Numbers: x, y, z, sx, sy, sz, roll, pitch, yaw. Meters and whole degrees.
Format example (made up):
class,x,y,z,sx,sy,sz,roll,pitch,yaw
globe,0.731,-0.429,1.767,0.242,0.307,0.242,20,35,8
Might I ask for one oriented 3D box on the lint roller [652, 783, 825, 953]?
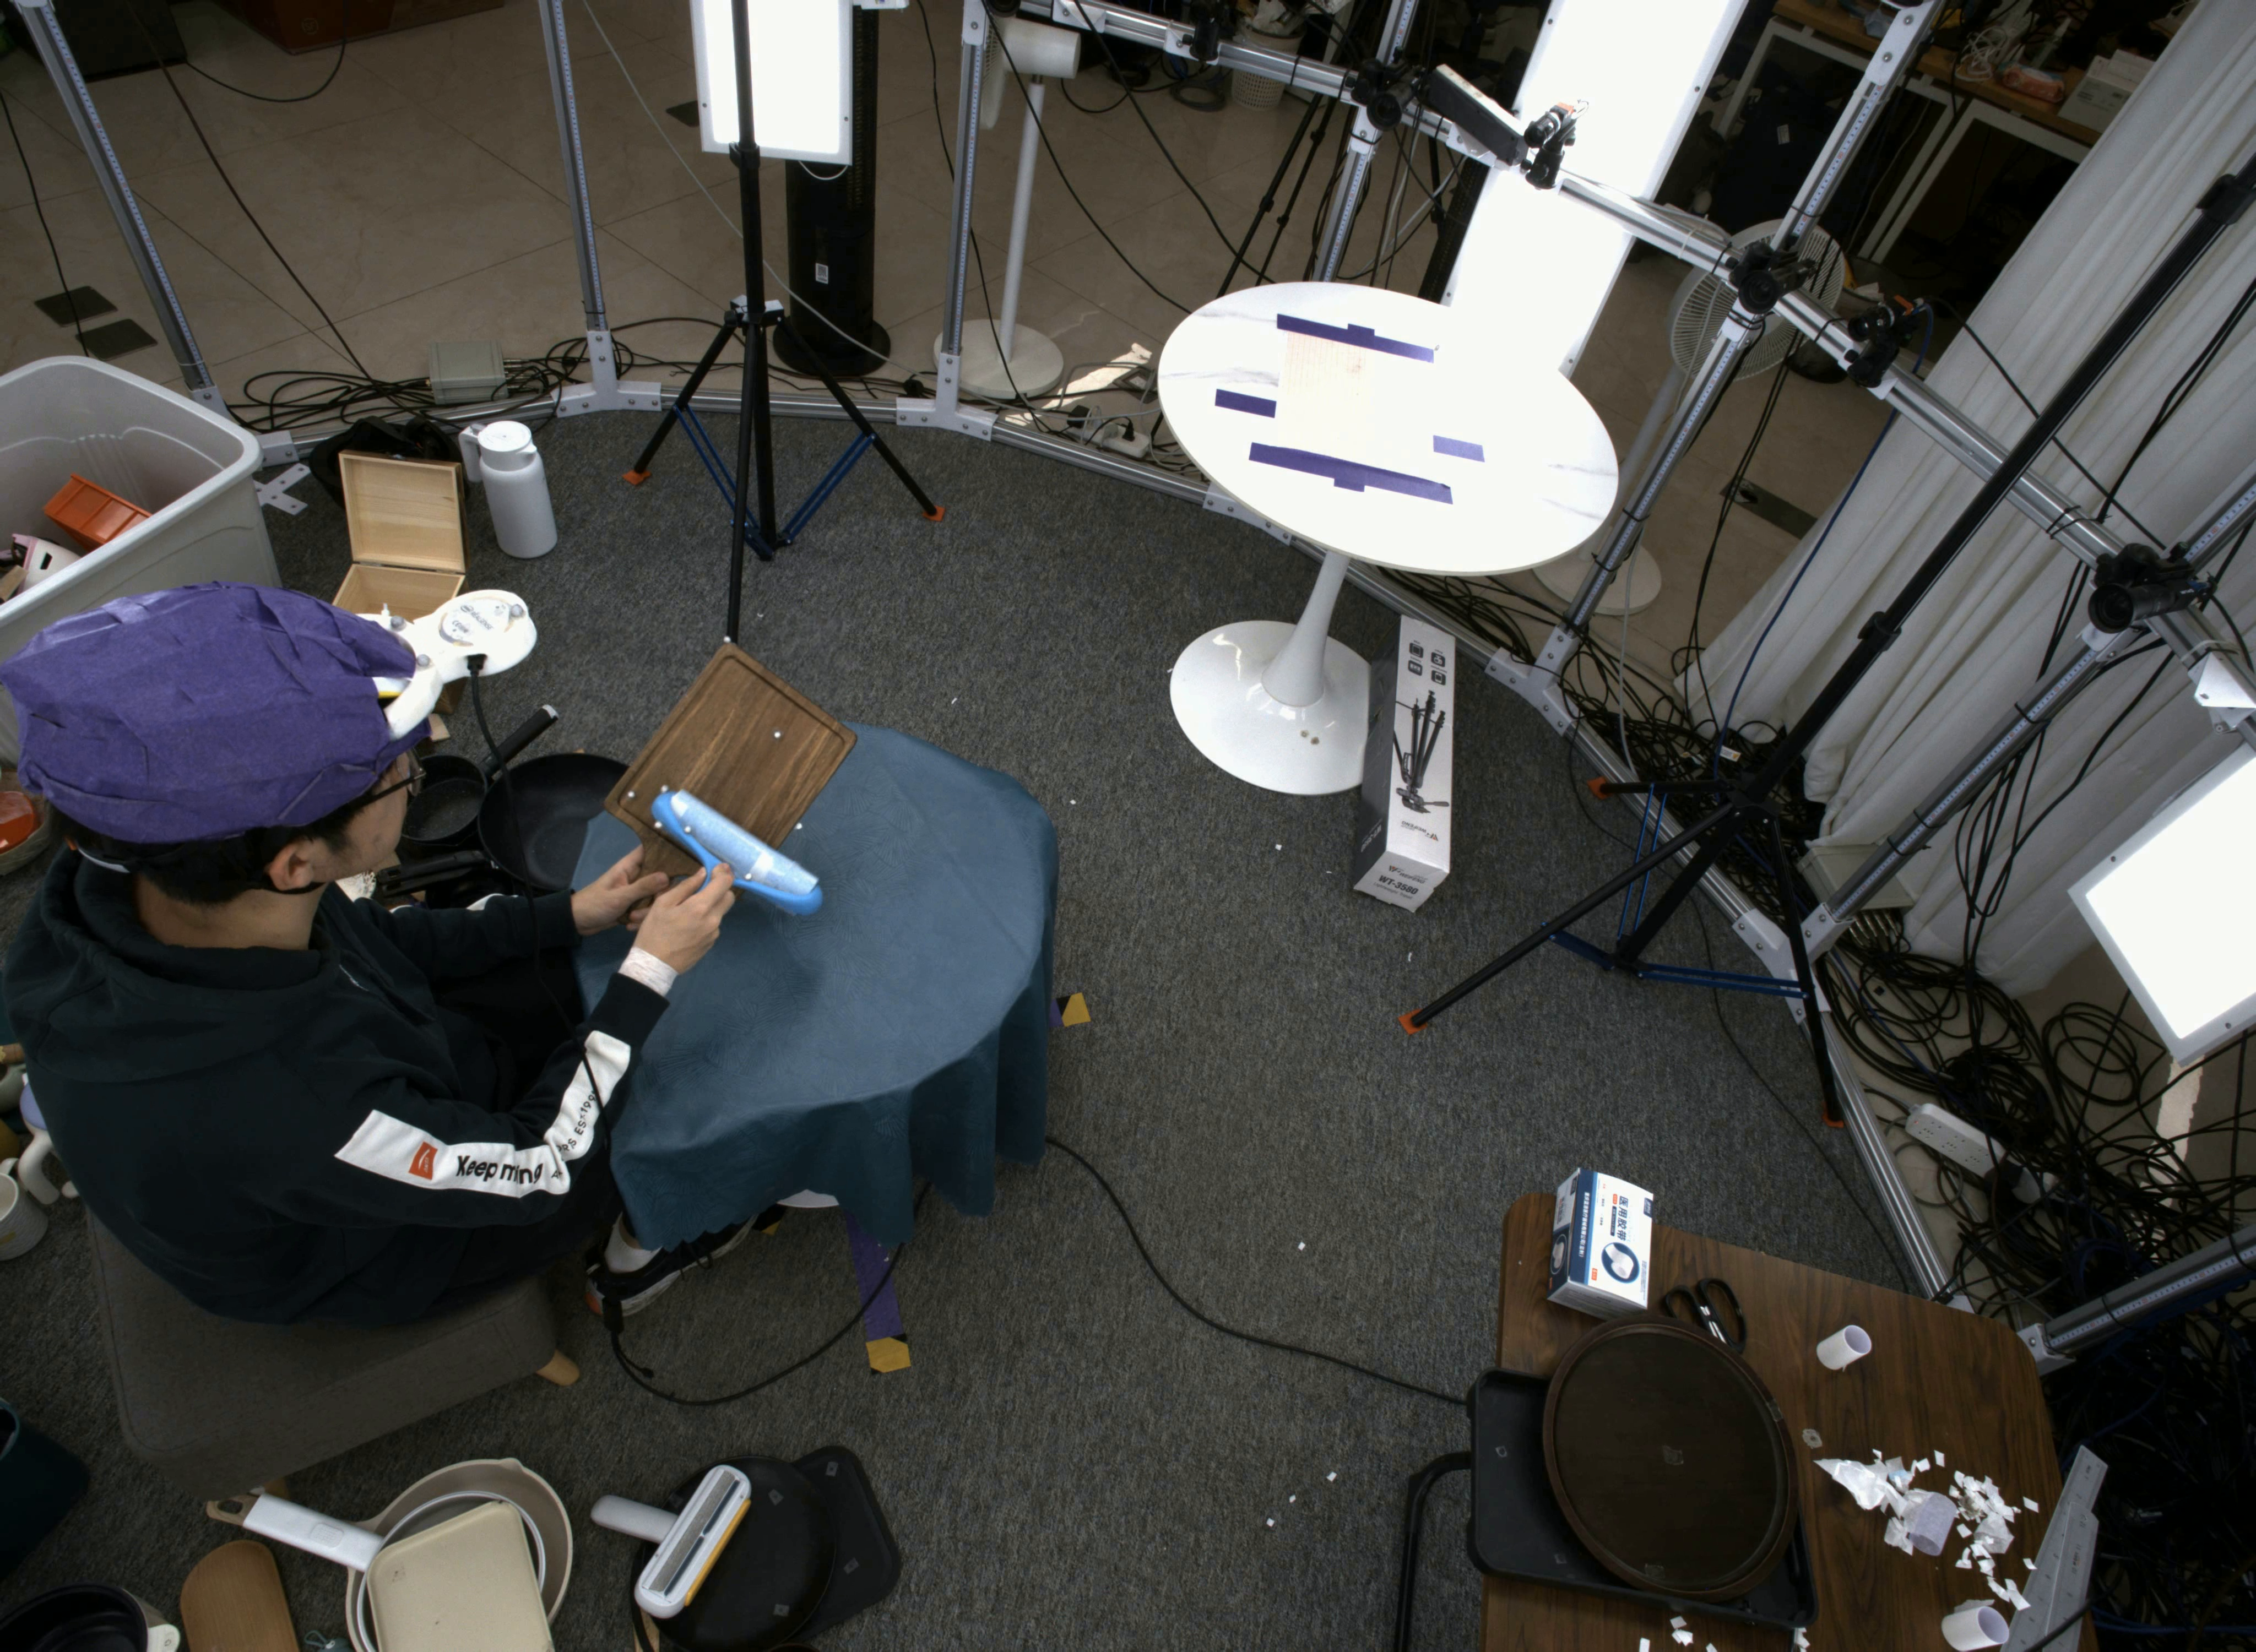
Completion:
class,x,y,z,sx,sy,sz,roll,pitch,yaw
lint roller,-0.477,0.065,1.492,0.232,0.067,0.178,34,48,-15

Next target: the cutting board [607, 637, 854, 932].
class,x,y,z,sx,sy,sz,roll,pitch,yaw
cutting board,-0.507,-0.027,1.548,0.204,0.023,0.353,36,87,-14
